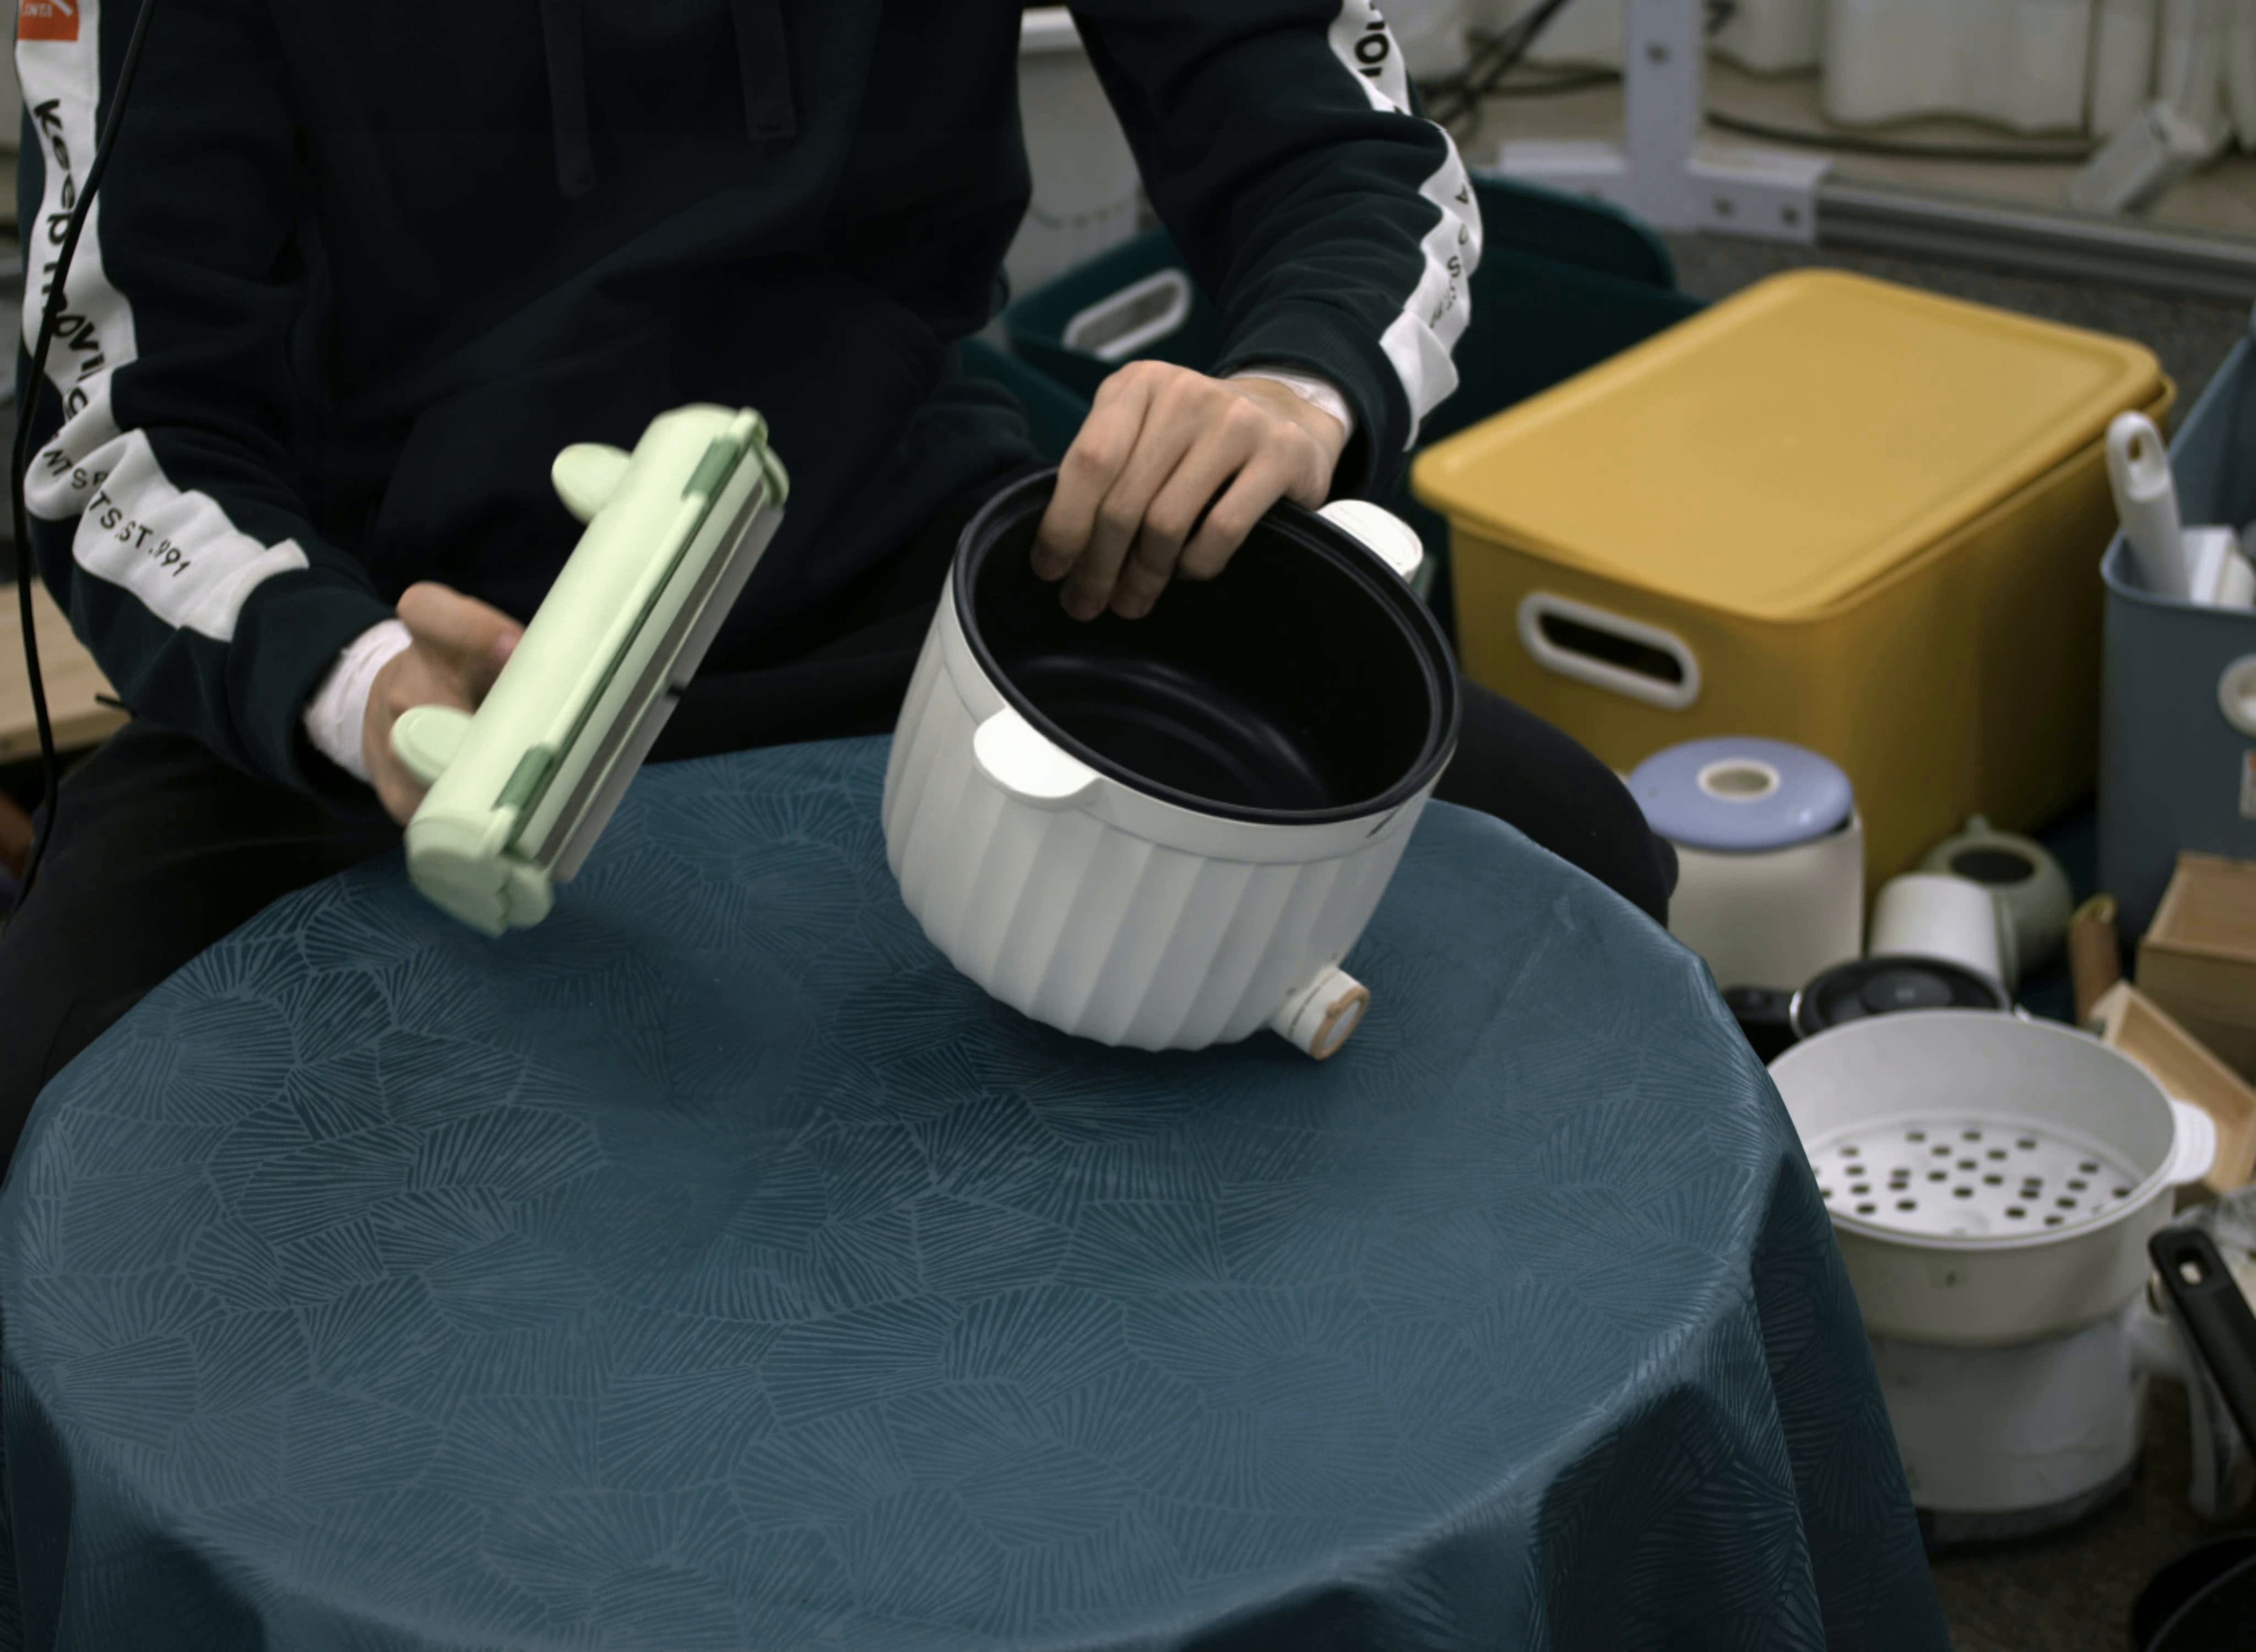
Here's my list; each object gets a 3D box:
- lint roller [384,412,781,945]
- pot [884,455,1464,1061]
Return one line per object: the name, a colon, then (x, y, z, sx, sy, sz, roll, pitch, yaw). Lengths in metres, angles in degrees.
lint roller: (-0.214, -0.045, 1.932, 0.181, 0.082, 0.202, -20, 35, 53)
pot: (0.014, -0.014, 1.932, 0.190, 0.140, 0.244, 33, 40, 19)
